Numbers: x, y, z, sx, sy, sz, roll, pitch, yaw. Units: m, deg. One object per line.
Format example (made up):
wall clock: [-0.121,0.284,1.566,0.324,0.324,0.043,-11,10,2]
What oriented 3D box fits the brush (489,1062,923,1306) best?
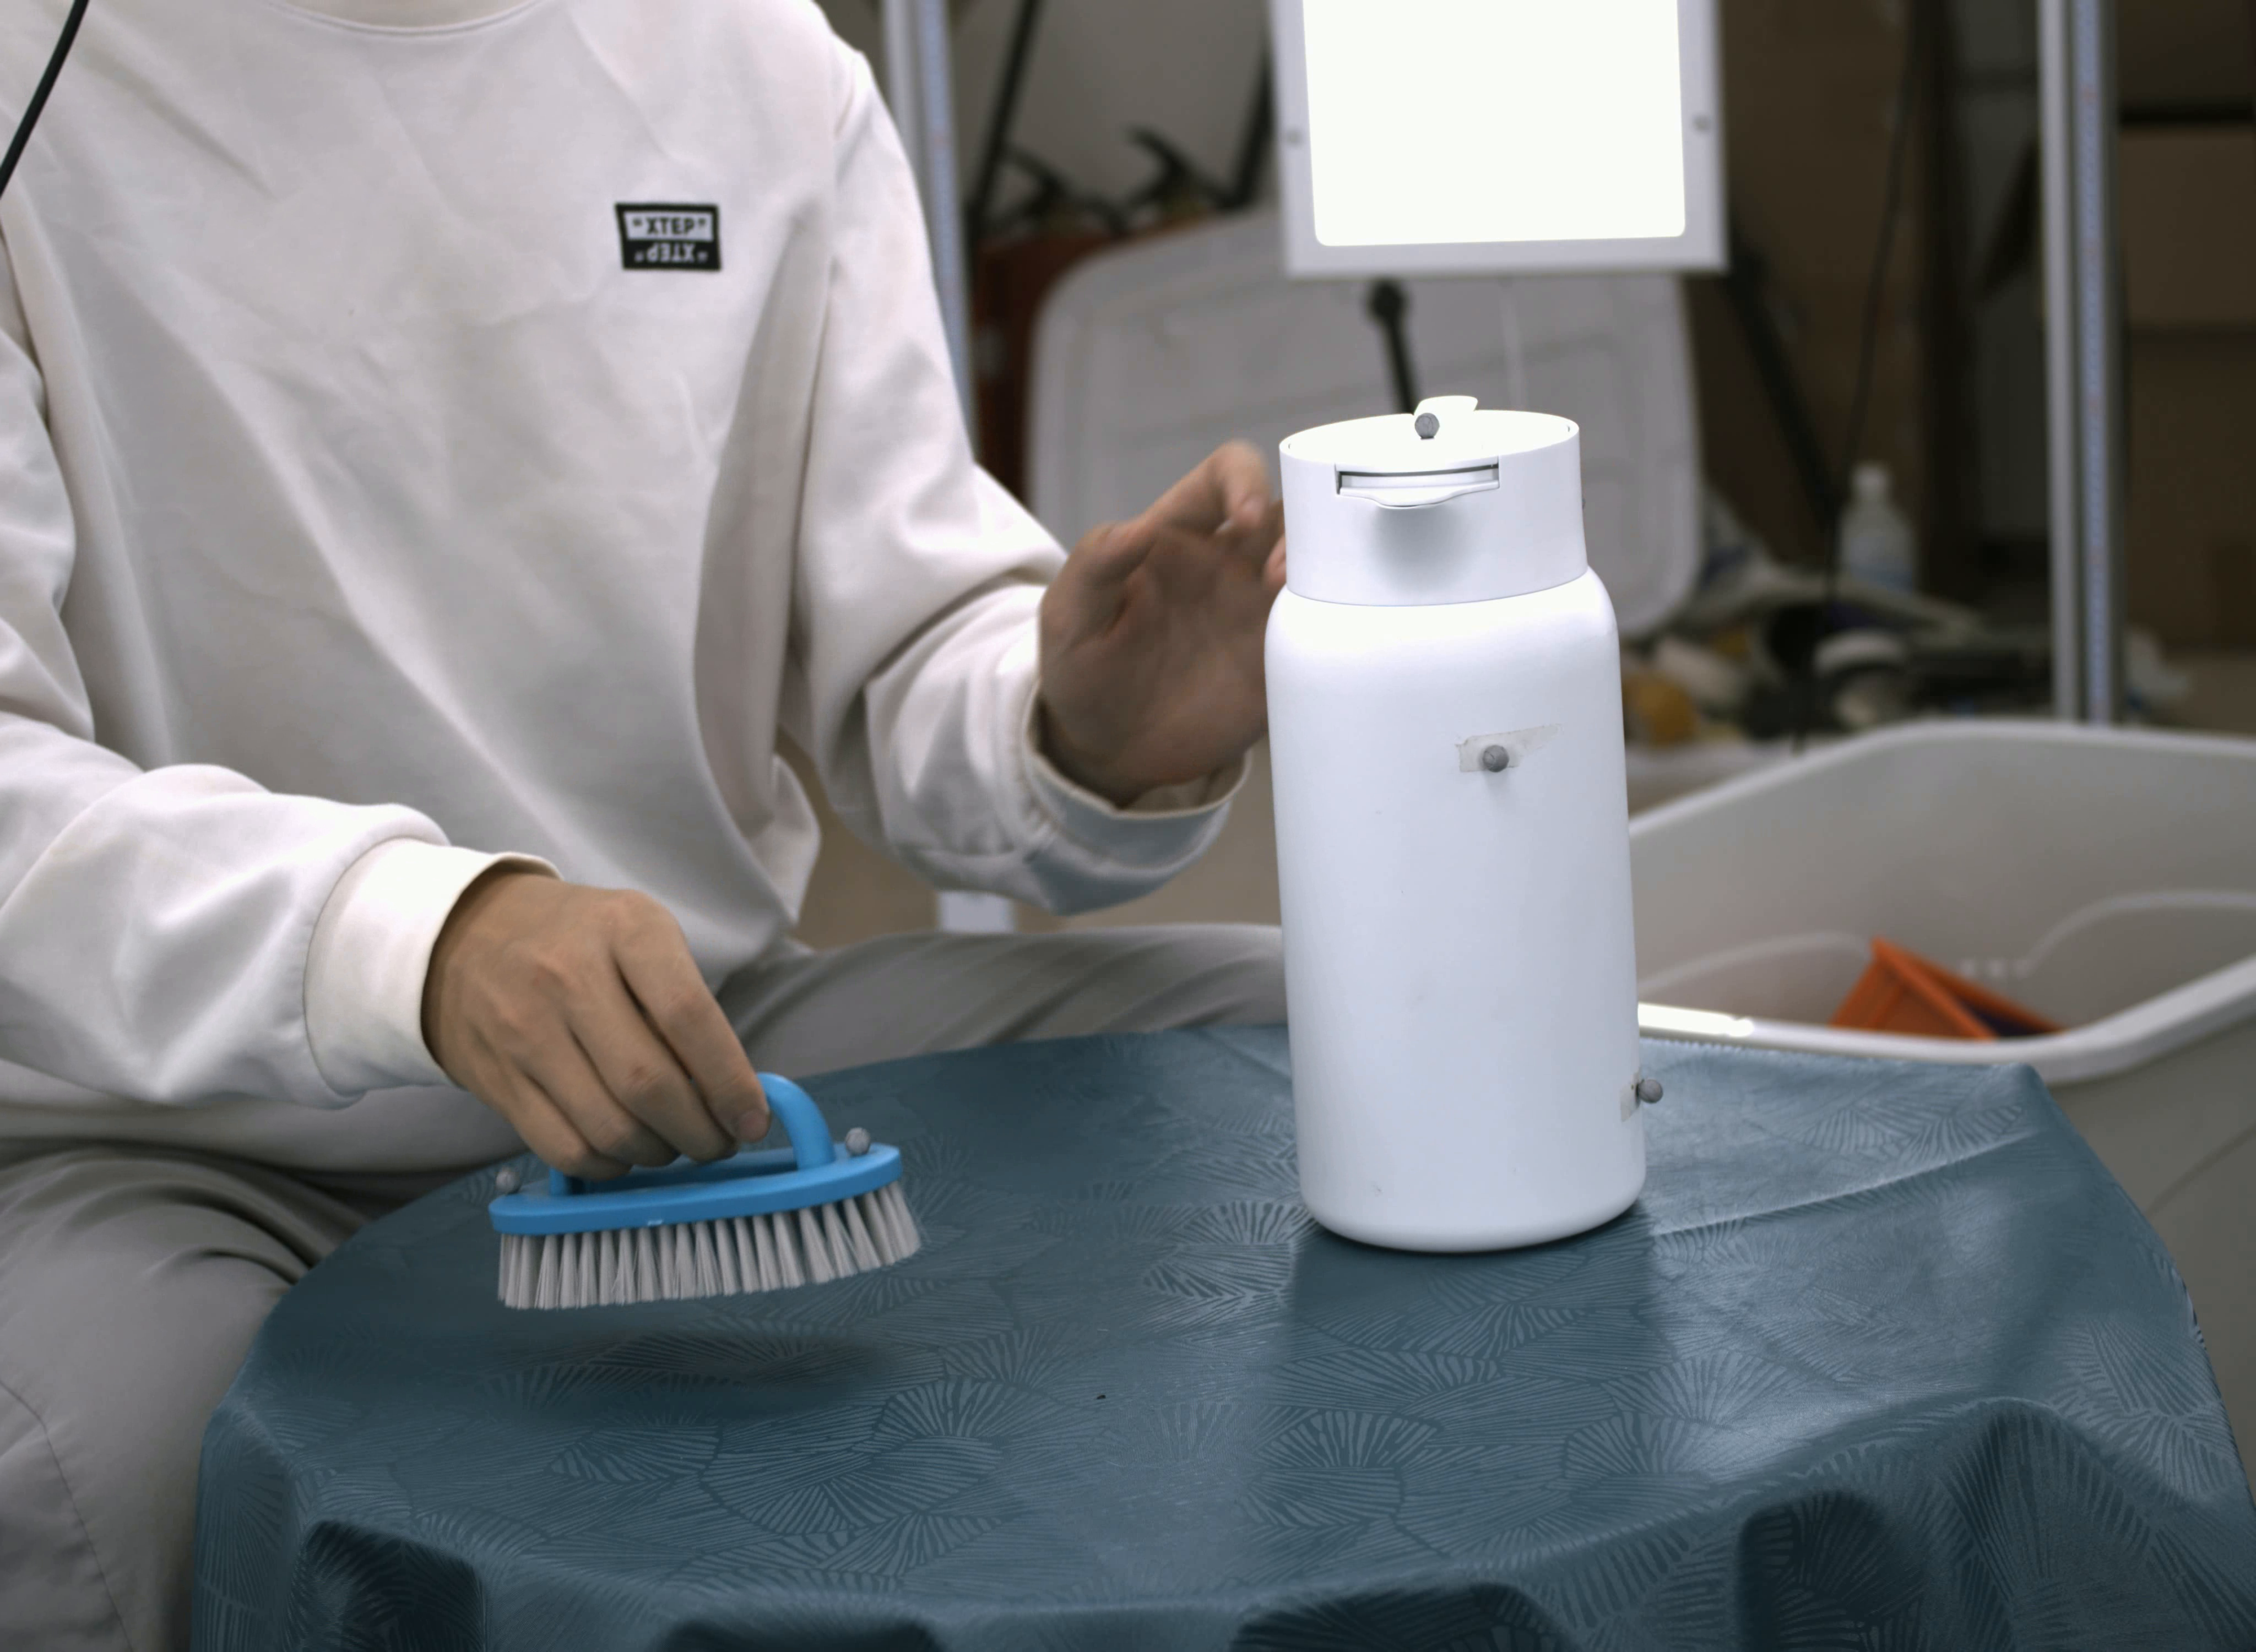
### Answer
brush: [-0.138,0.109,1.751,0.144,0.064,0.083,-7,10,21]

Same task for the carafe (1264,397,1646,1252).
carafe: [0.109,-0.005,1.835,0.124,0.270,0.171,-4,13,10]
